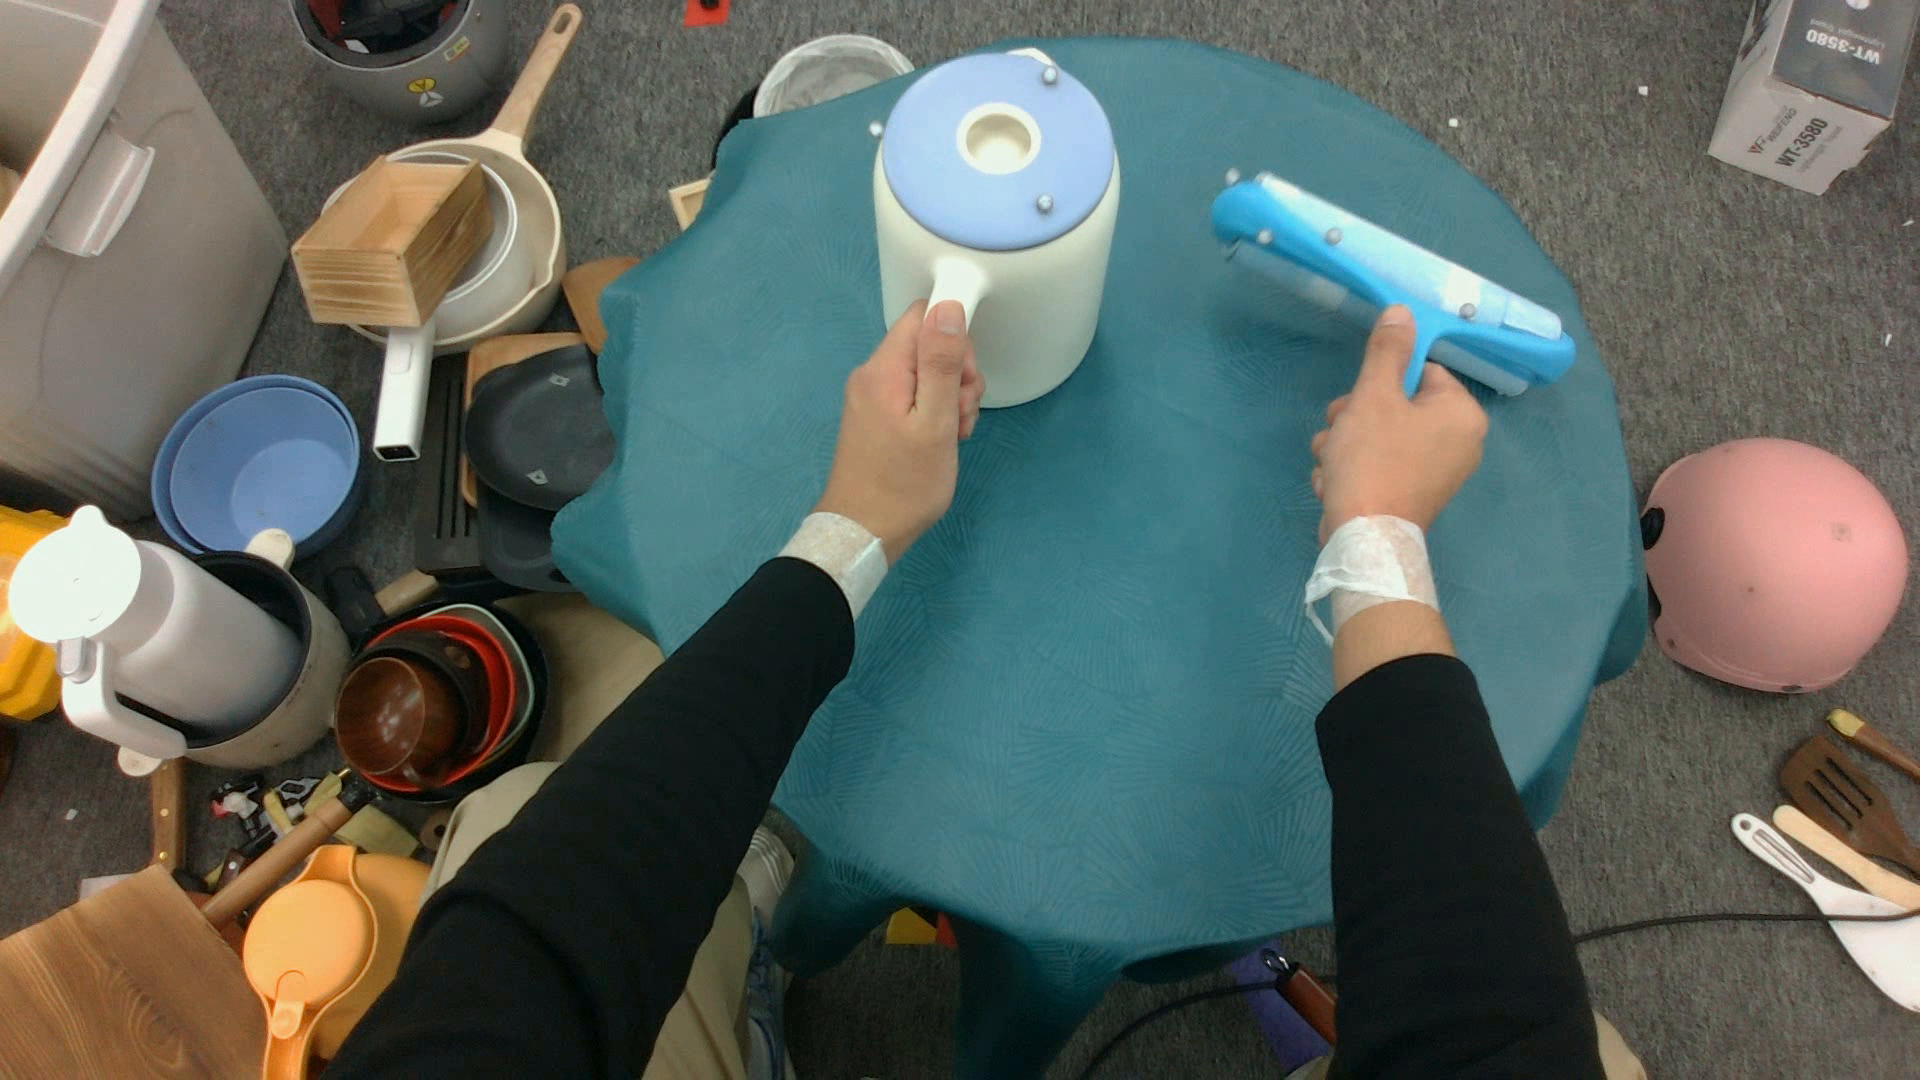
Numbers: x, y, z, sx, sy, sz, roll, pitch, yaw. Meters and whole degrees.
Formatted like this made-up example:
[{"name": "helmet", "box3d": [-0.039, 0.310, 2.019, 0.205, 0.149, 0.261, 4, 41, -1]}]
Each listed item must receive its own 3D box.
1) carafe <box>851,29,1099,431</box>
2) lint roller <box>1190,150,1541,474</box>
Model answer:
[{"name": "carafe", "box3d": [0.001, -0.156, 0.765, 0.132, 0.182, 0.191, 14, 71, 5]}, {"name": "lint roller", "box3d": [0.226, -0.117, 0.767, 0.229, 0.067, 0.181, 24, 48, -13]}]
